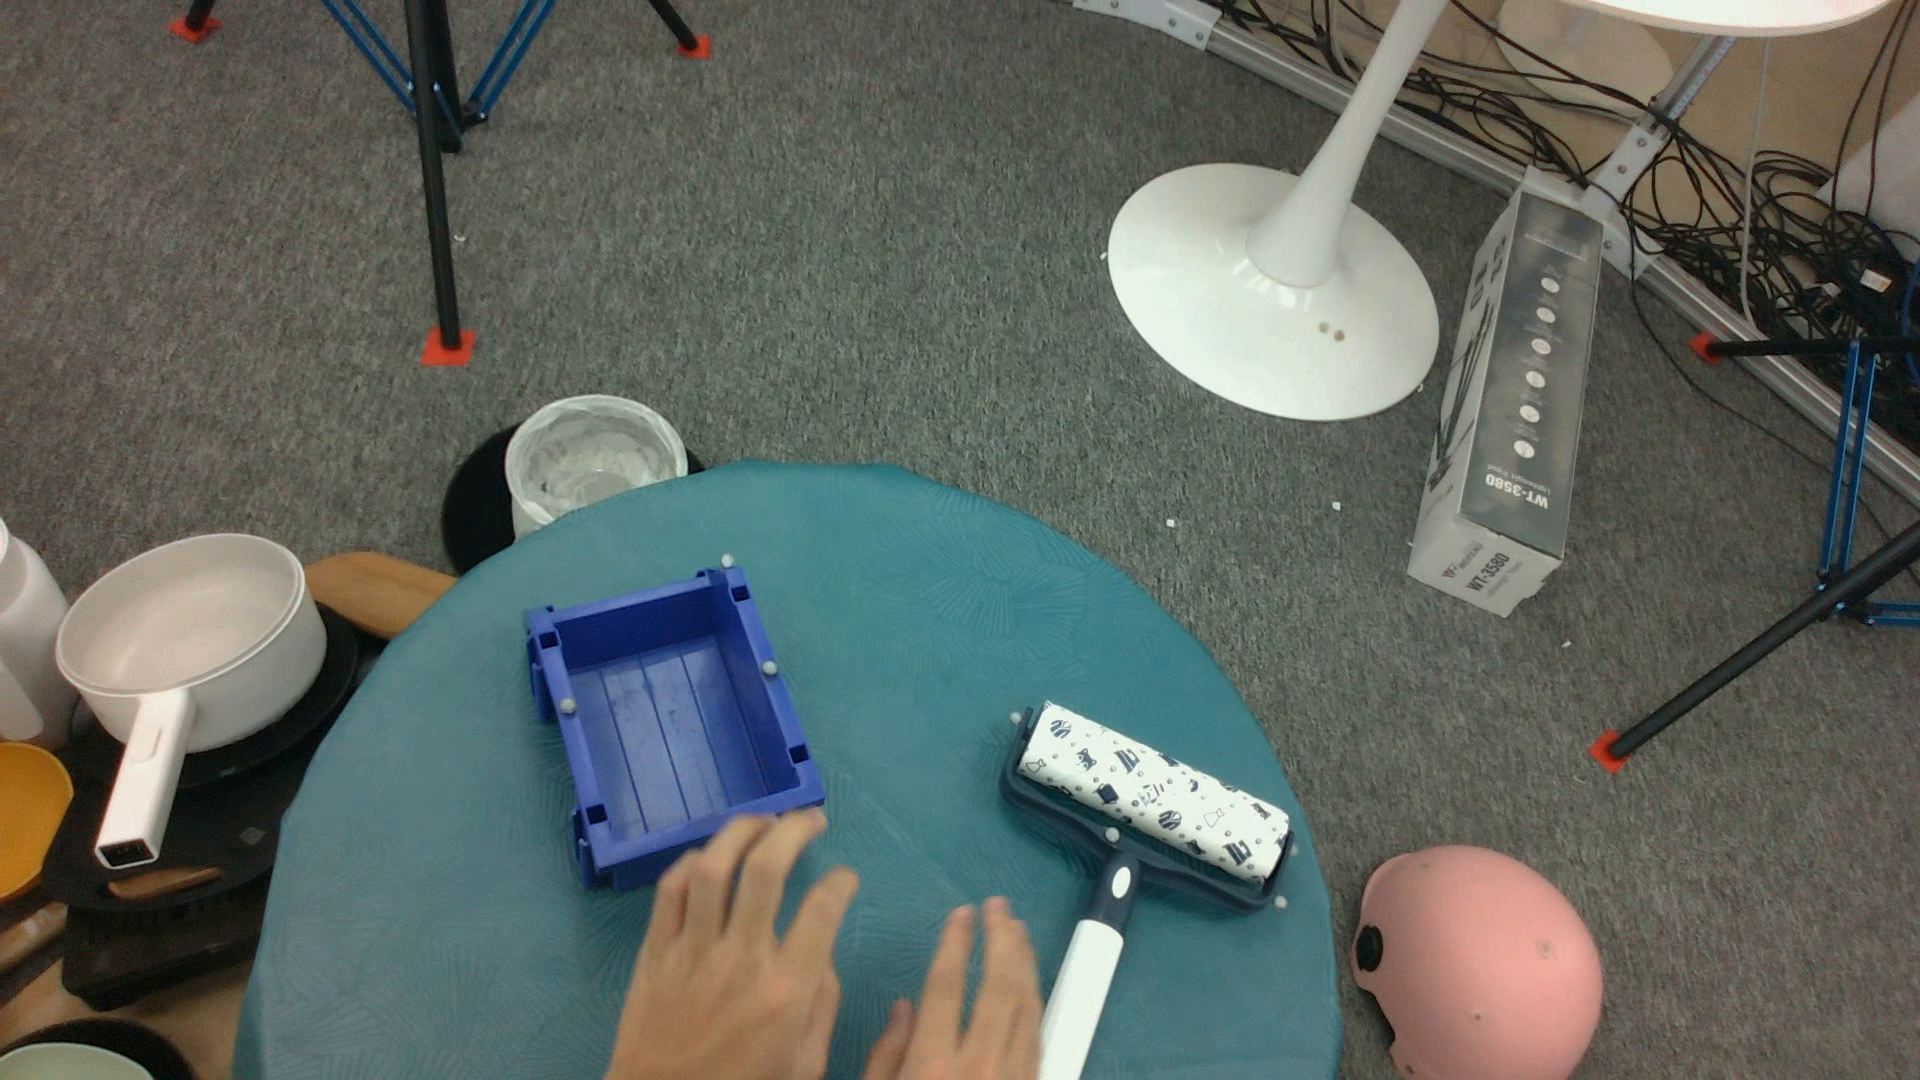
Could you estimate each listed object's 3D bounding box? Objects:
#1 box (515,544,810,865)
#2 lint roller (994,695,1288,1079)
[{"bbox_3d":[-0.175,0.086,0.779,0.125,0.081,0.180,-13,63,-21],"label":"box"},{"bbox_3d":[0.075,0.223,0.773,0.176,0.050,0.248,25,56,2],"label":"lint roller"}]
